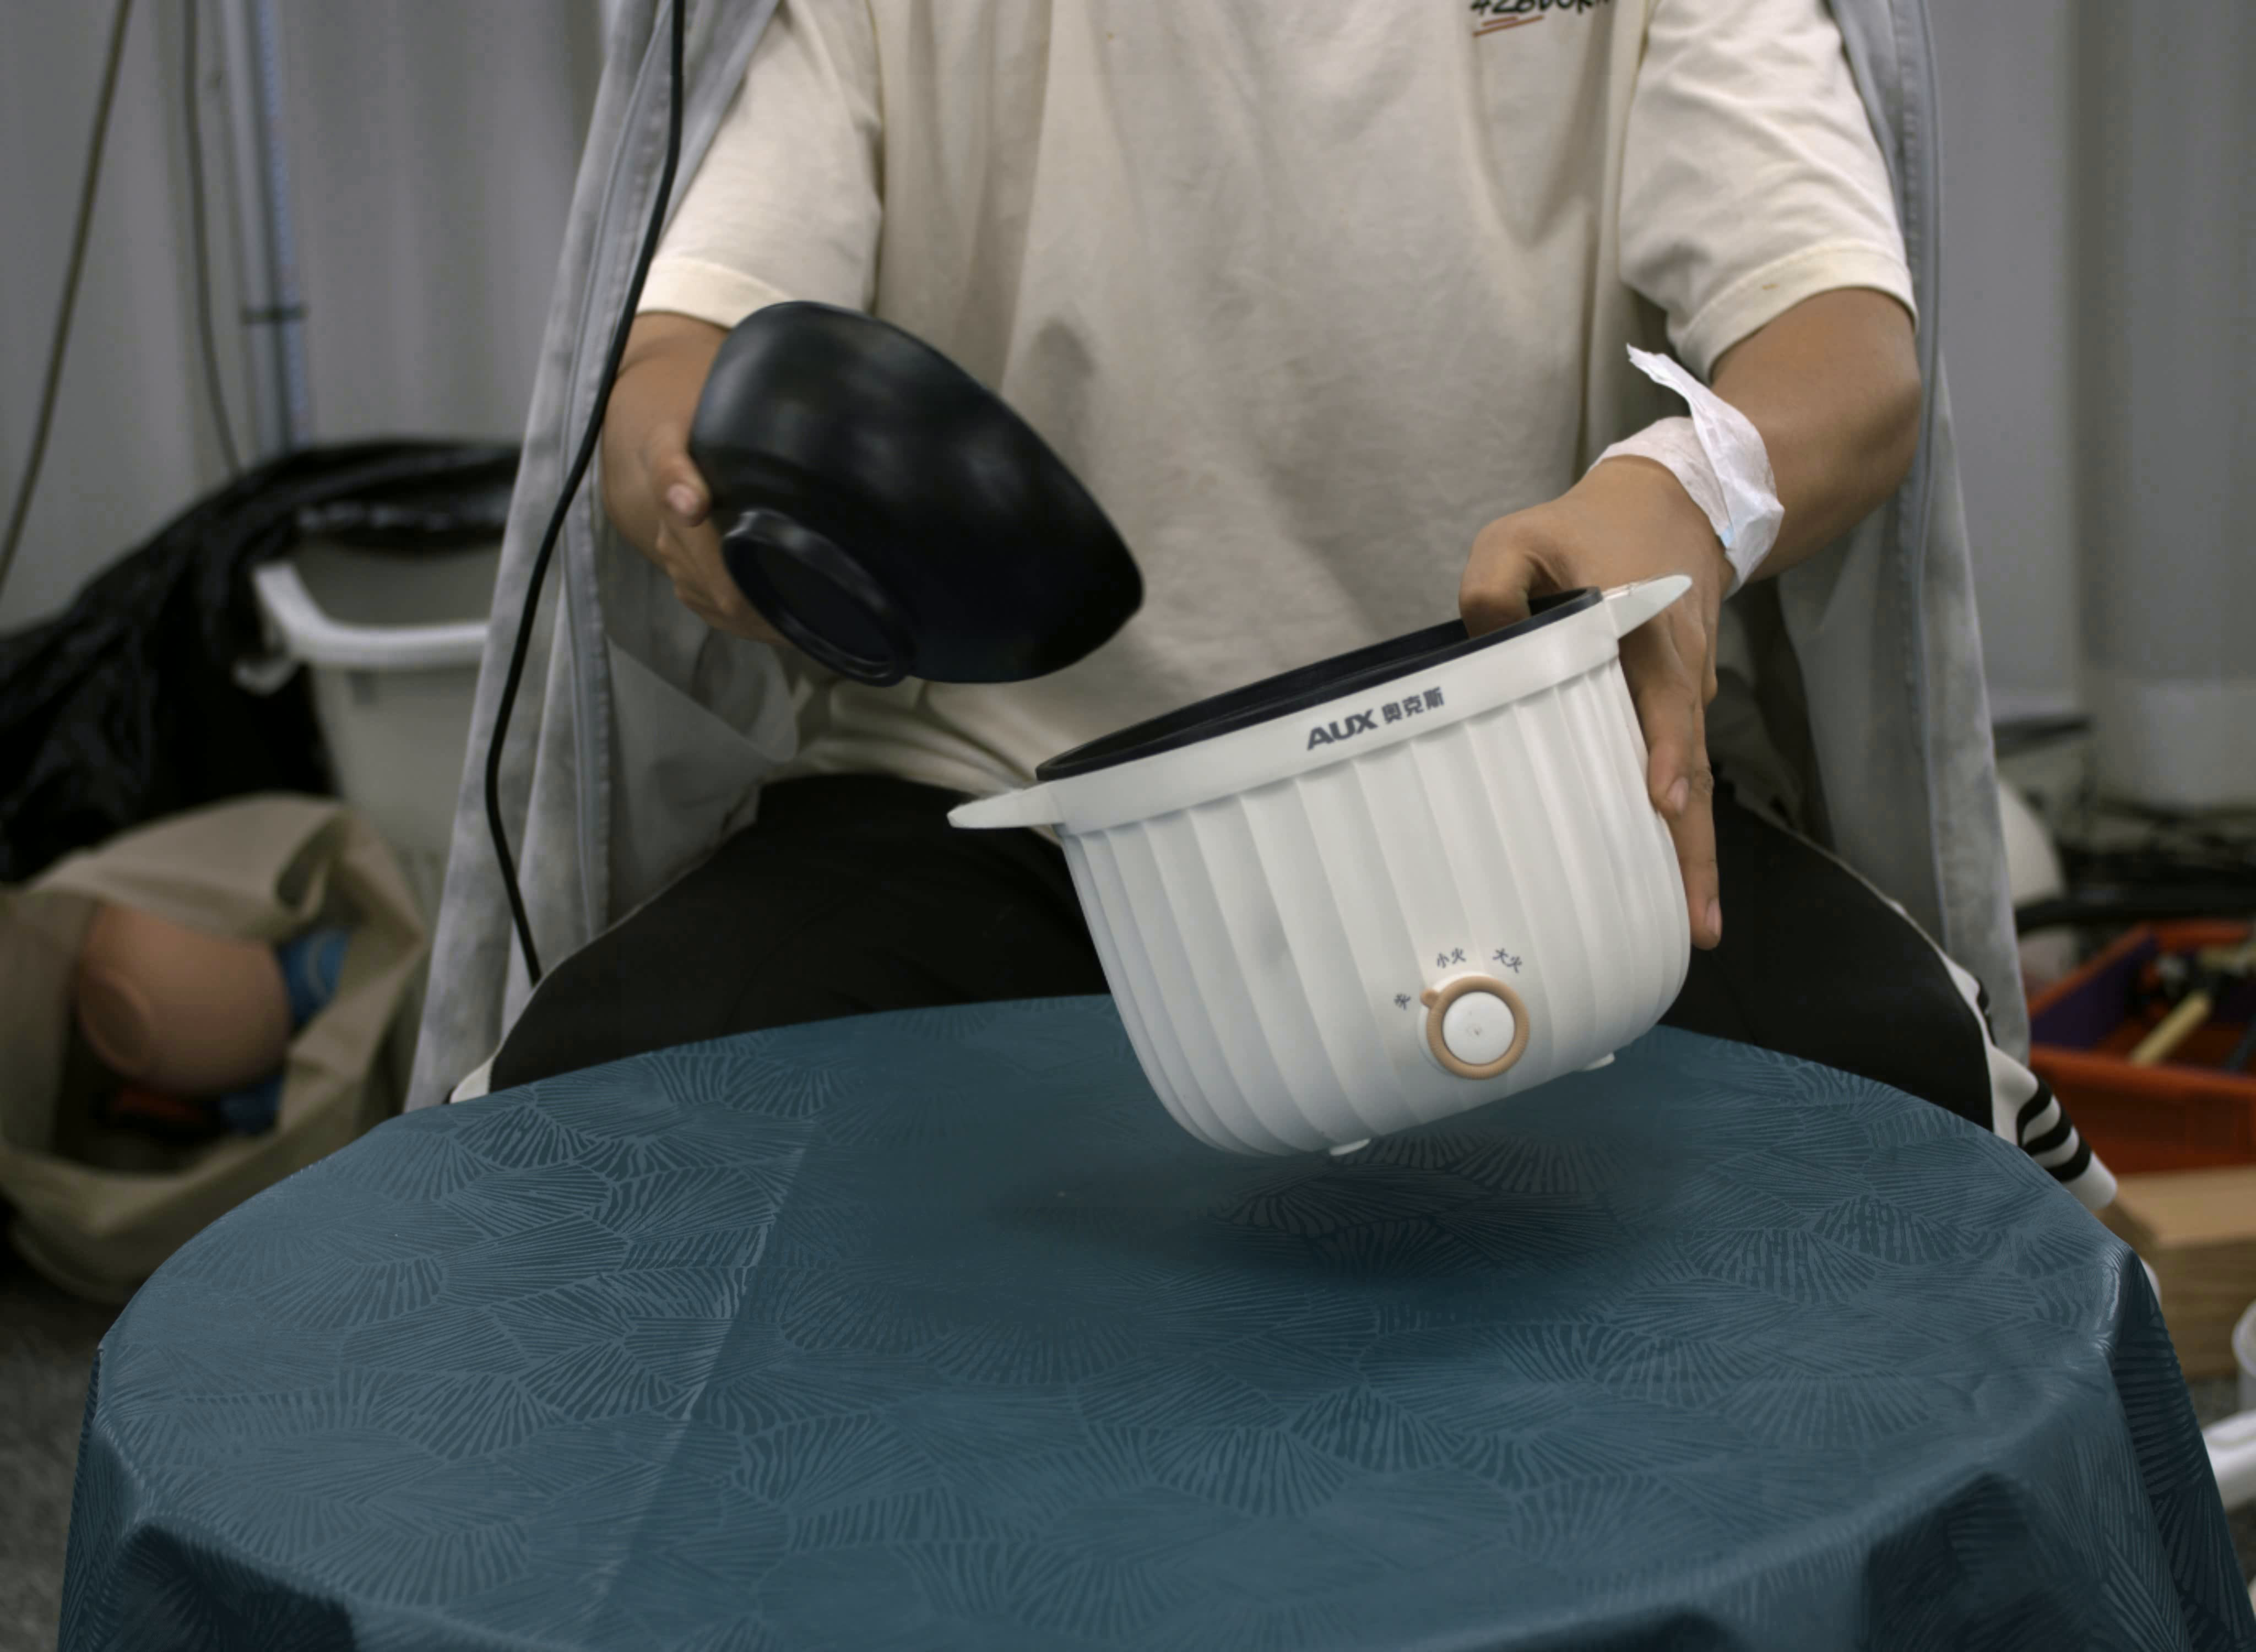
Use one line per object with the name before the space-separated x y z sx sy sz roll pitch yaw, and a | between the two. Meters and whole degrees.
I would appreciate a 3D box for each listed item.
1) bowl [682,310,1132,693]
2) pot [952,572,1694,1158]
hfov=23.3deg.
bowl | -0.080 -0.087 1.648 0.171 0.135 0.067 17 61 45
pot | 0.080 0.018 1.665 0.240 0.143 0.190 -19 0 -6
